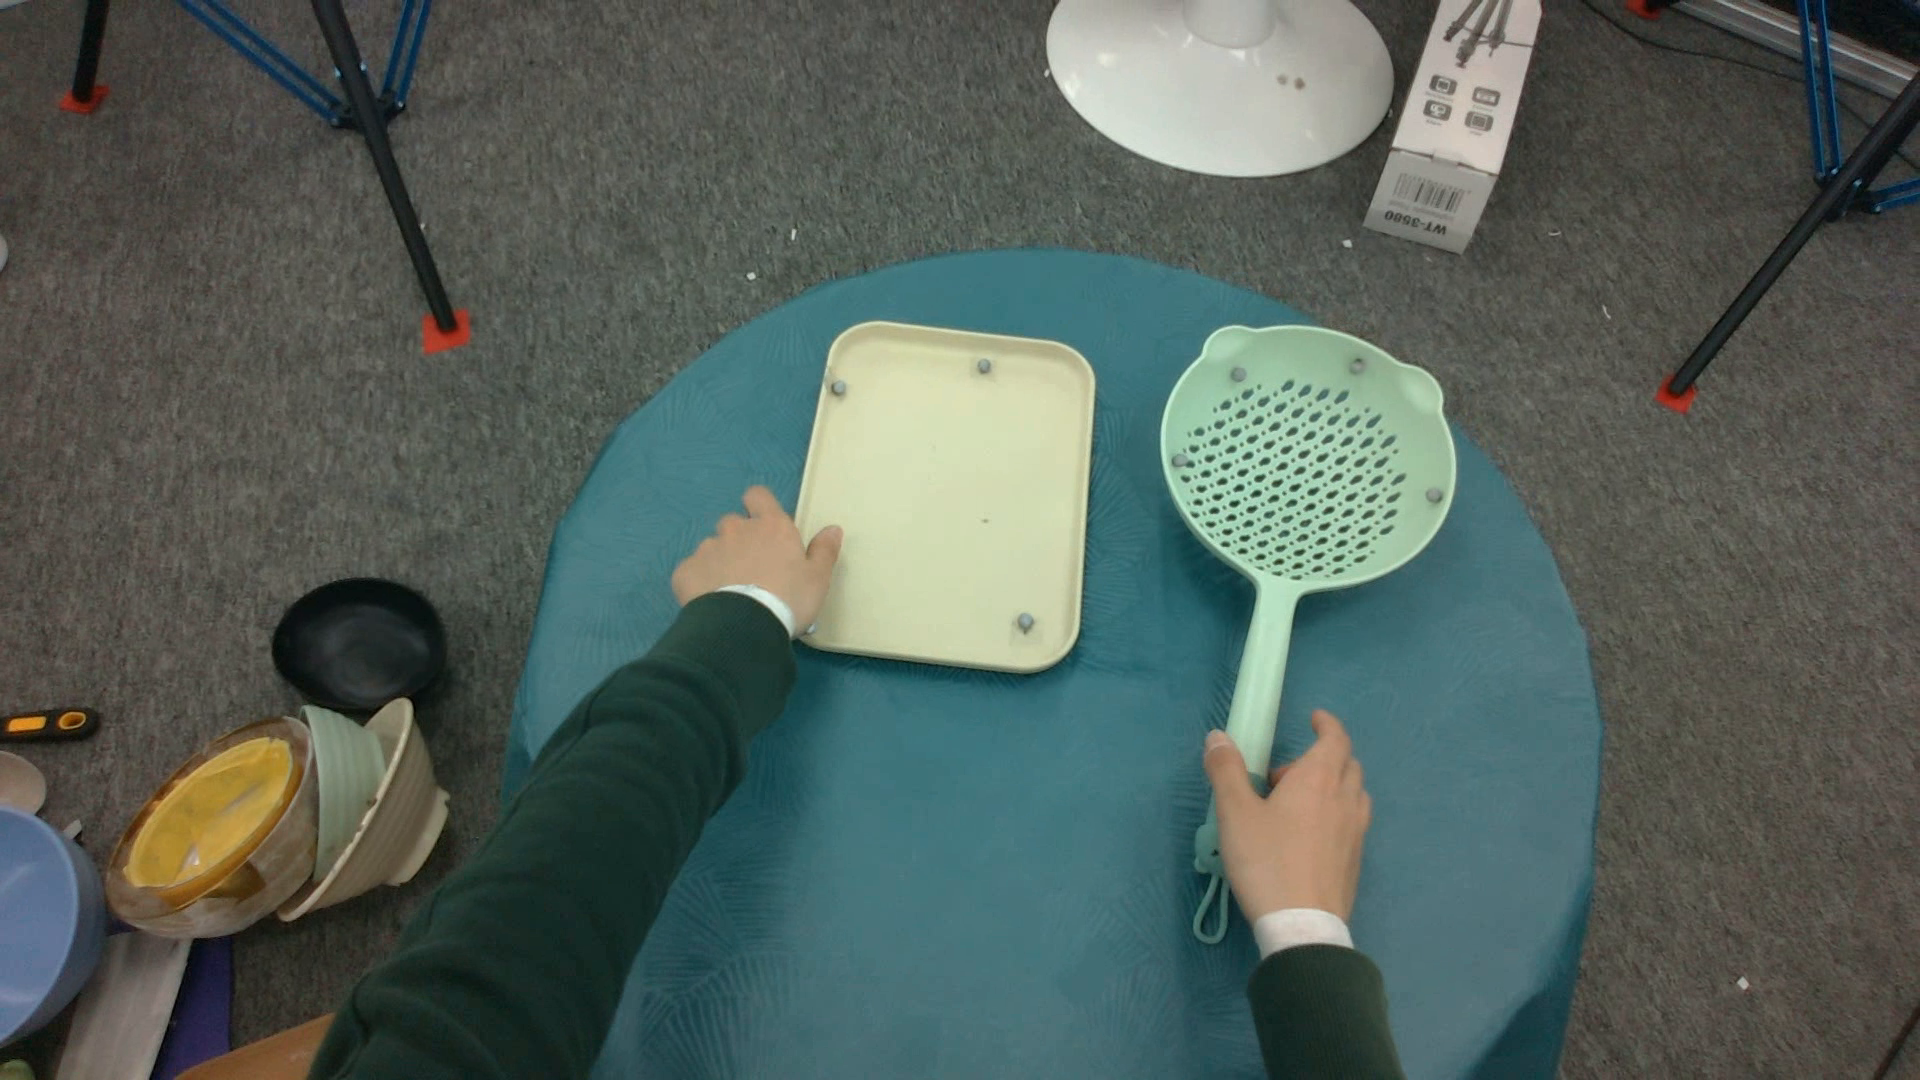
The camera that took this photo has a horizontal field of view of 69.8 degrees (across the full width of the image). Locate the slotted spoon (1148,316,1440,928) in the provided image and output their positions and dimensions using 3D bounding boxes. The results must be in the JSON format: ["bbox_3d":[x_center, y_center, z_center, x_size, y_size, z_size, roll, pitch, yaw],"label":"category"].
[{"bbox_3d":[0.166,0.032,0.761,0.169,0.075,0.360,15,57,6],"label":"slotted spoon"}]

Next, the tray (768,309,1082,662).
[{"bbox_3d":[-0.016,-0.038,0.820,0.171,0.017,0.241,6,57,0],"label":"tray"}]
